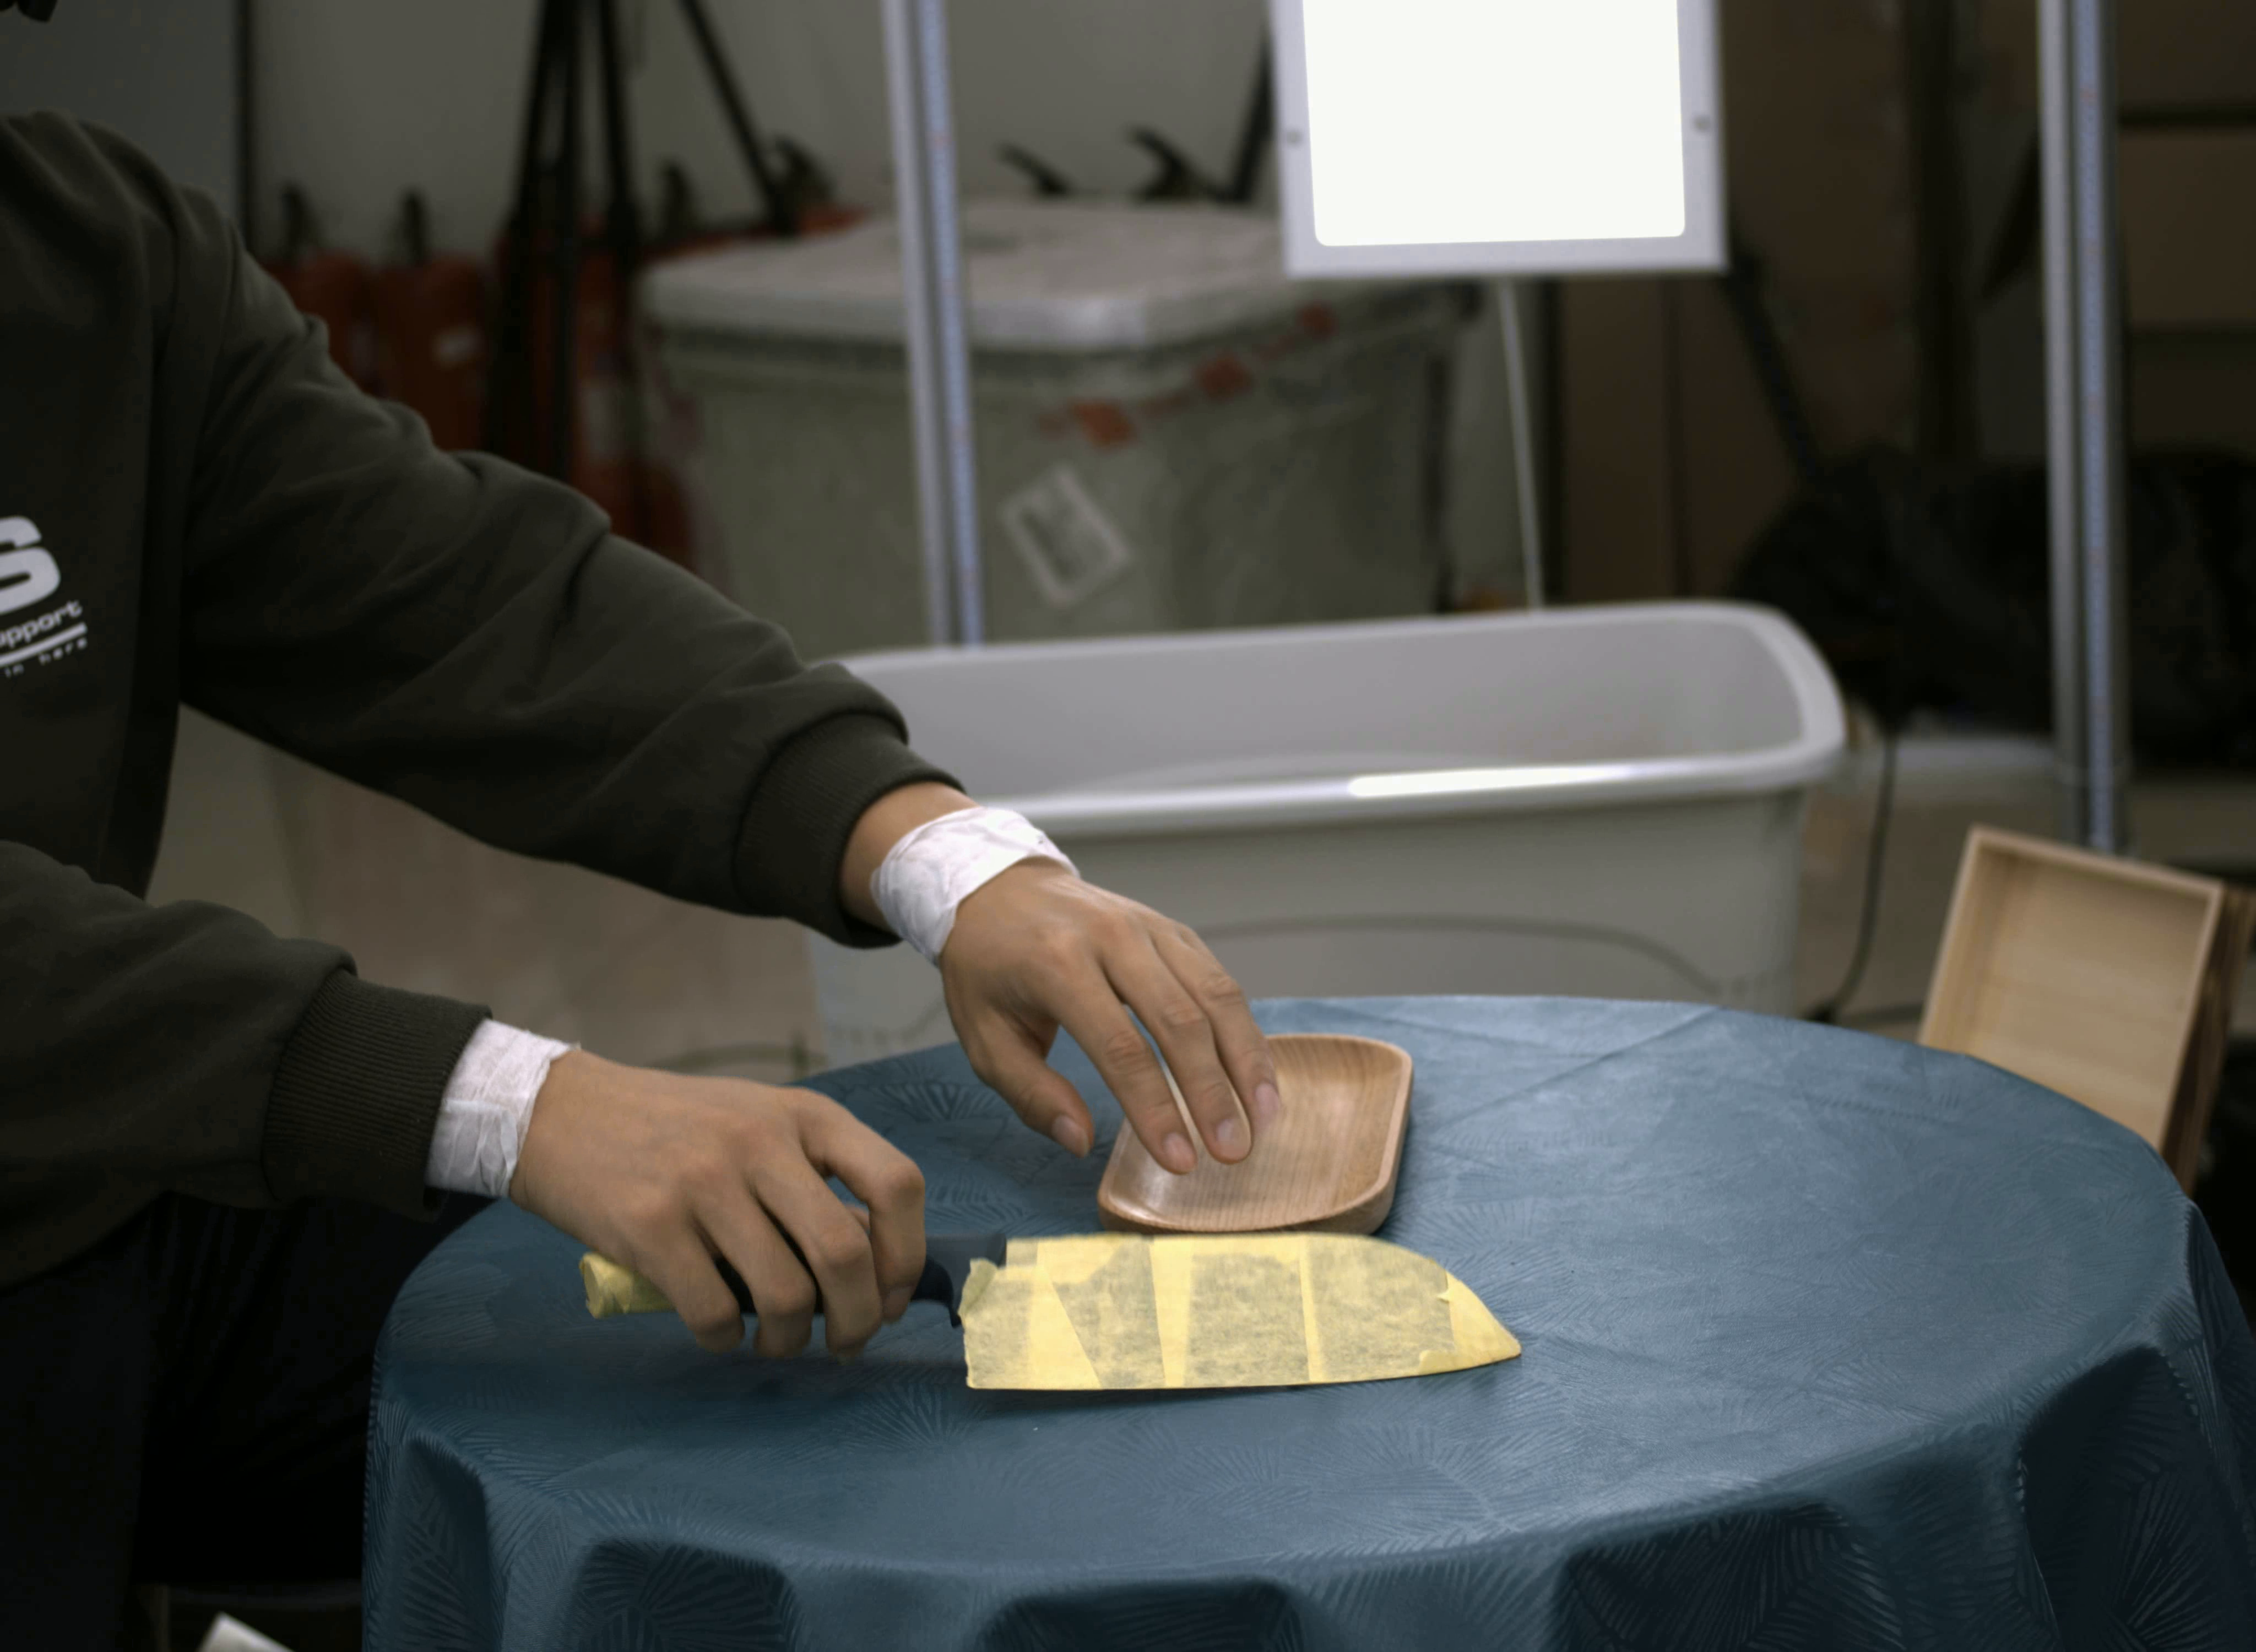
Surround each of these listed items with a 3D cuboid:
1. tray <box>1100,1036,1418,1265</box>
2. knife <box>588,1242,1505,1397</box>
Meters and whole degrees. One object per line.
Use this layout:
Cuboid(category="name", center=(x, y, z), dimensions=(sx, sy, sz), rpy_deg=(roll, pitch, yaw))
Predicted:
Cuboid(category="tray", center=(0.048, 0.112, 1.912), dimensions=(0.102, 0.020, 0.229), rpy_deg=(-5, 15, 8))
Cuboid(category="knife", center=(-0.026, 0.154, 1.721), dimensions=(0.289, 0.027, 0.080), rpy_deg=(-1, 29, 3))
